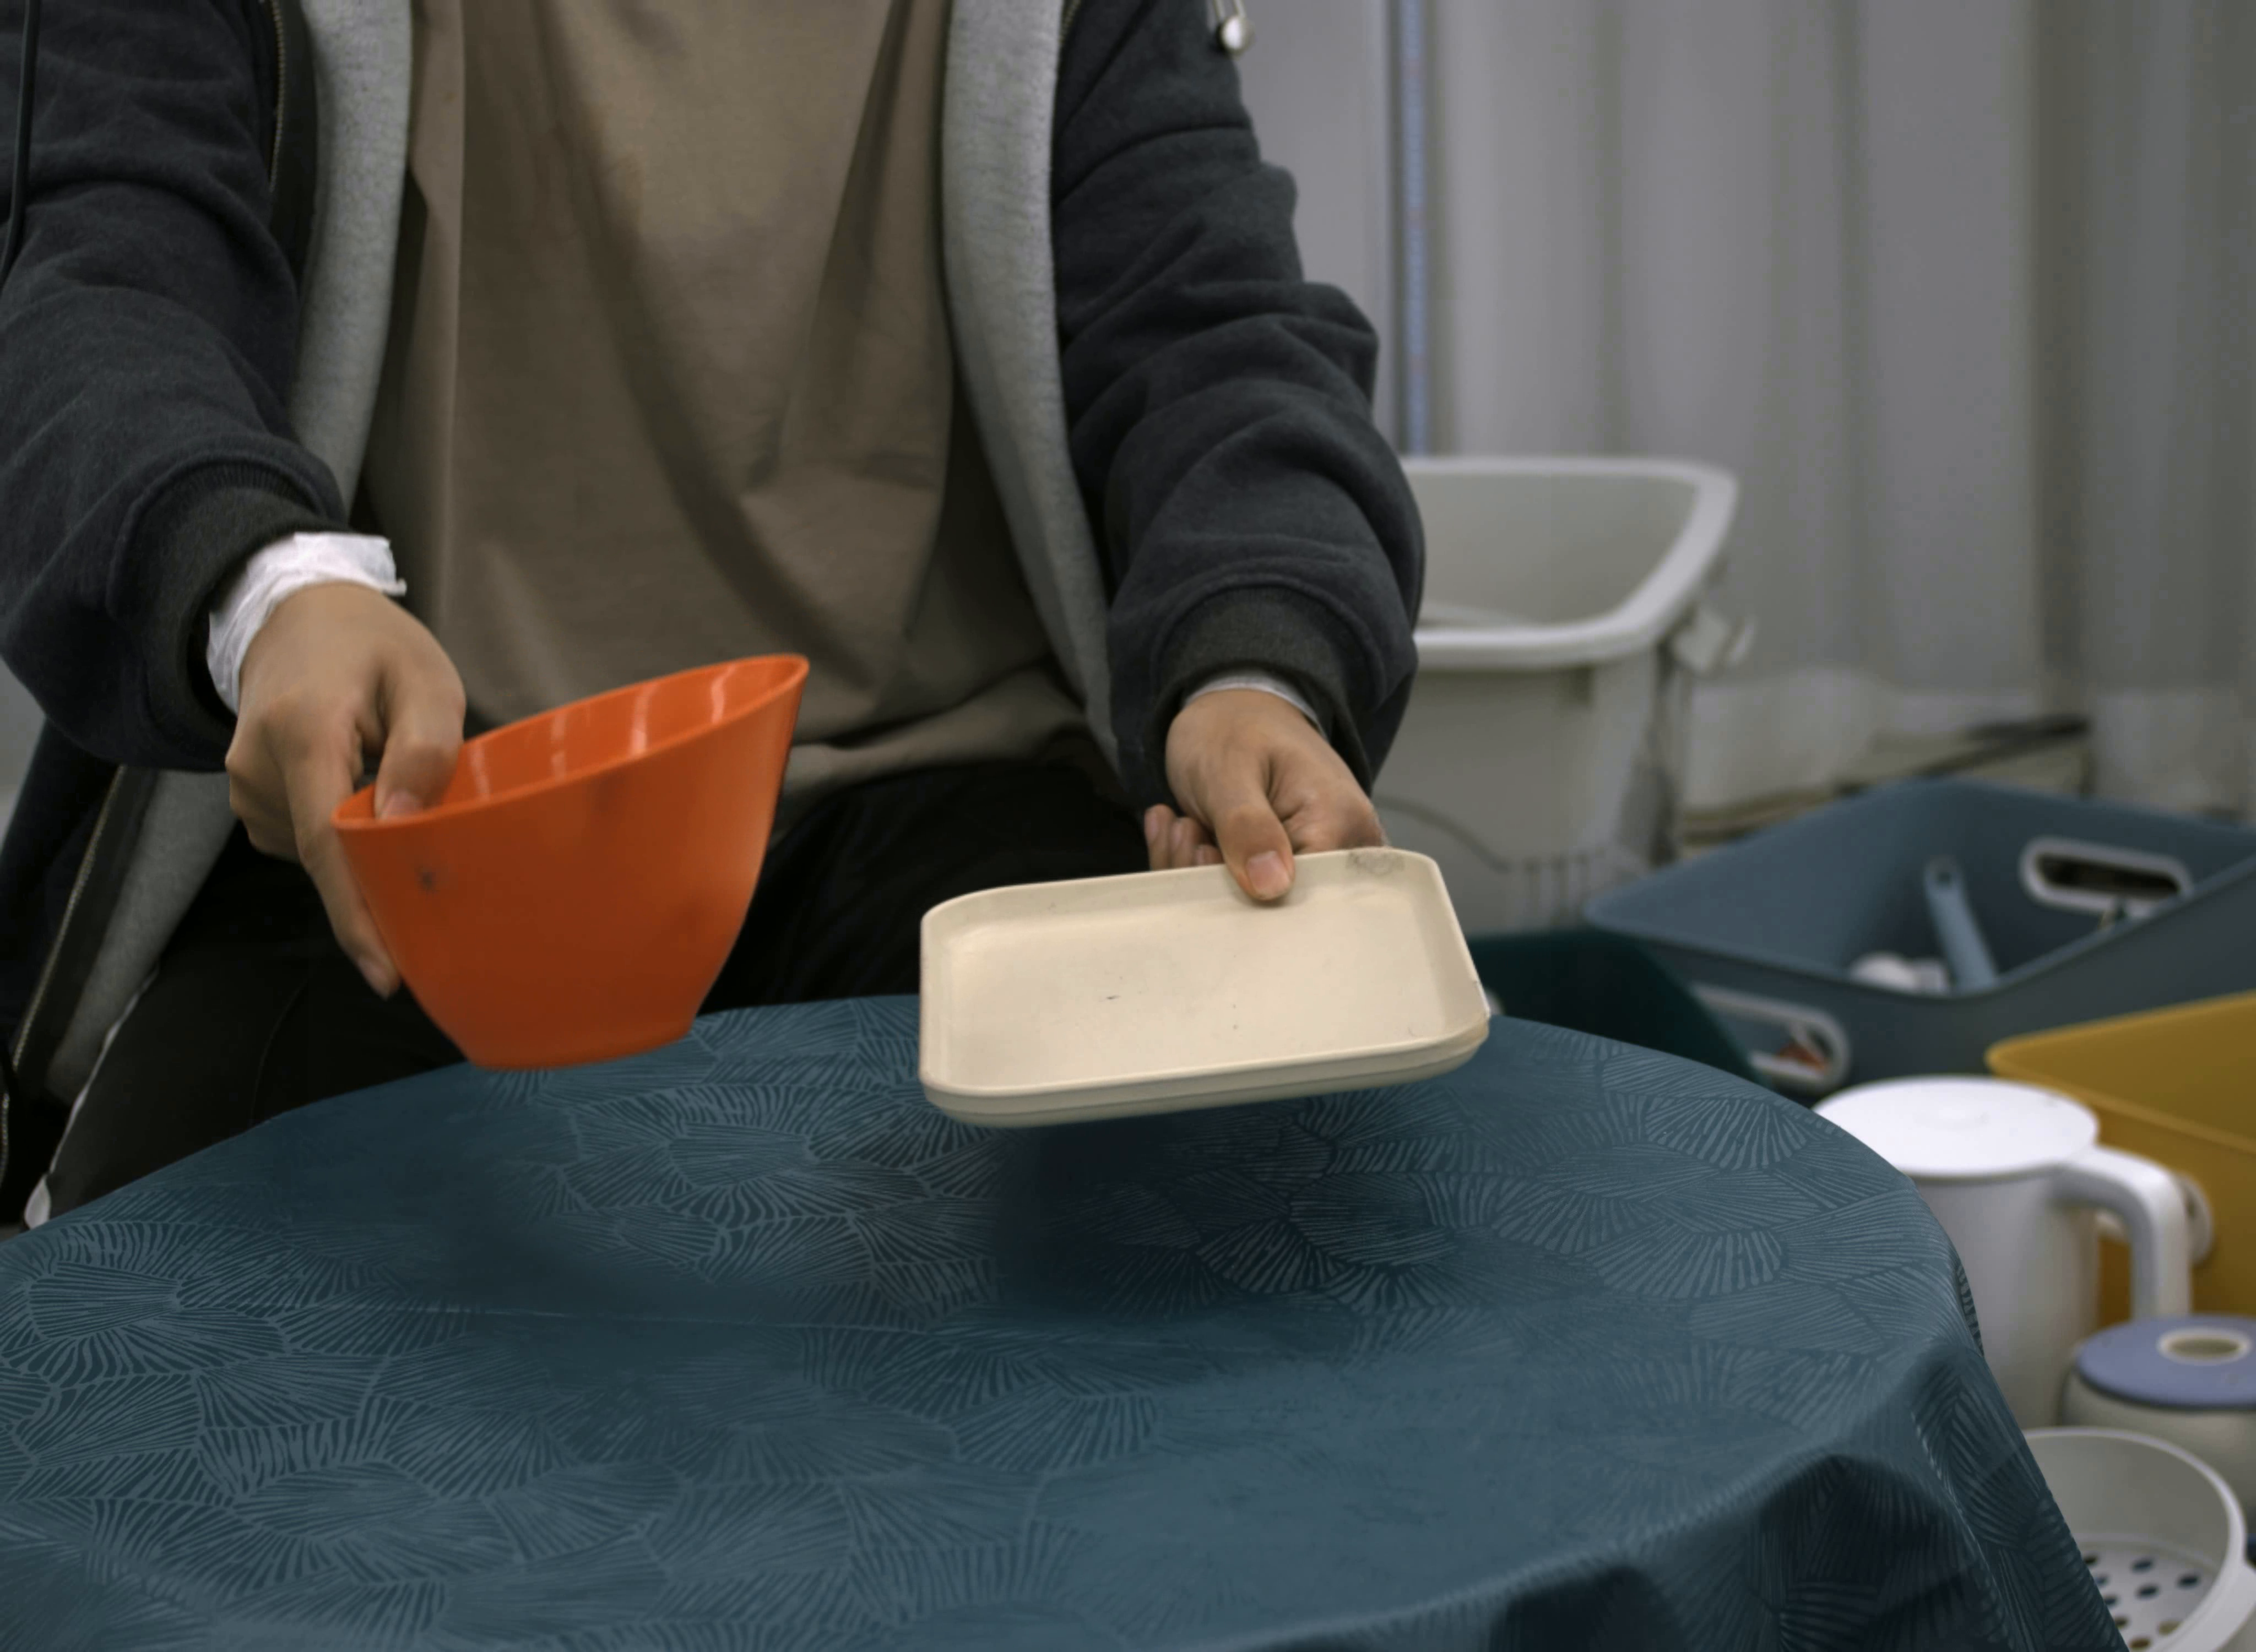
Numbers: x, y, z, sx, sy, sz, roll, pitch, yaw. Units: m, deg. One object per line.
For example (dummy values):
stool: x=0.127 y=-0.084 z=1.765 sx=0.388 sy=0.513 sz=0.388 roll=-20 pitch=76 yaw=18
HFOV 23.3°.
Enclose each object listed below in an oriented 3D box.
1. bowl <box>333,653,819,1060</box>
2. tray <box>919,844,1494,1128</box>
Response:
bowl: x=-0.159 y=0.011 z=1.628 sx=0.147 sy=0.104 sz=0.148 roll=-6 pitch=8 yaw=1
tray: x=0.021 y=0.048 z=1.692 sx=0.171 sy=0.017 sz=0.241 roll=-7 pitch=14 yaw=0
